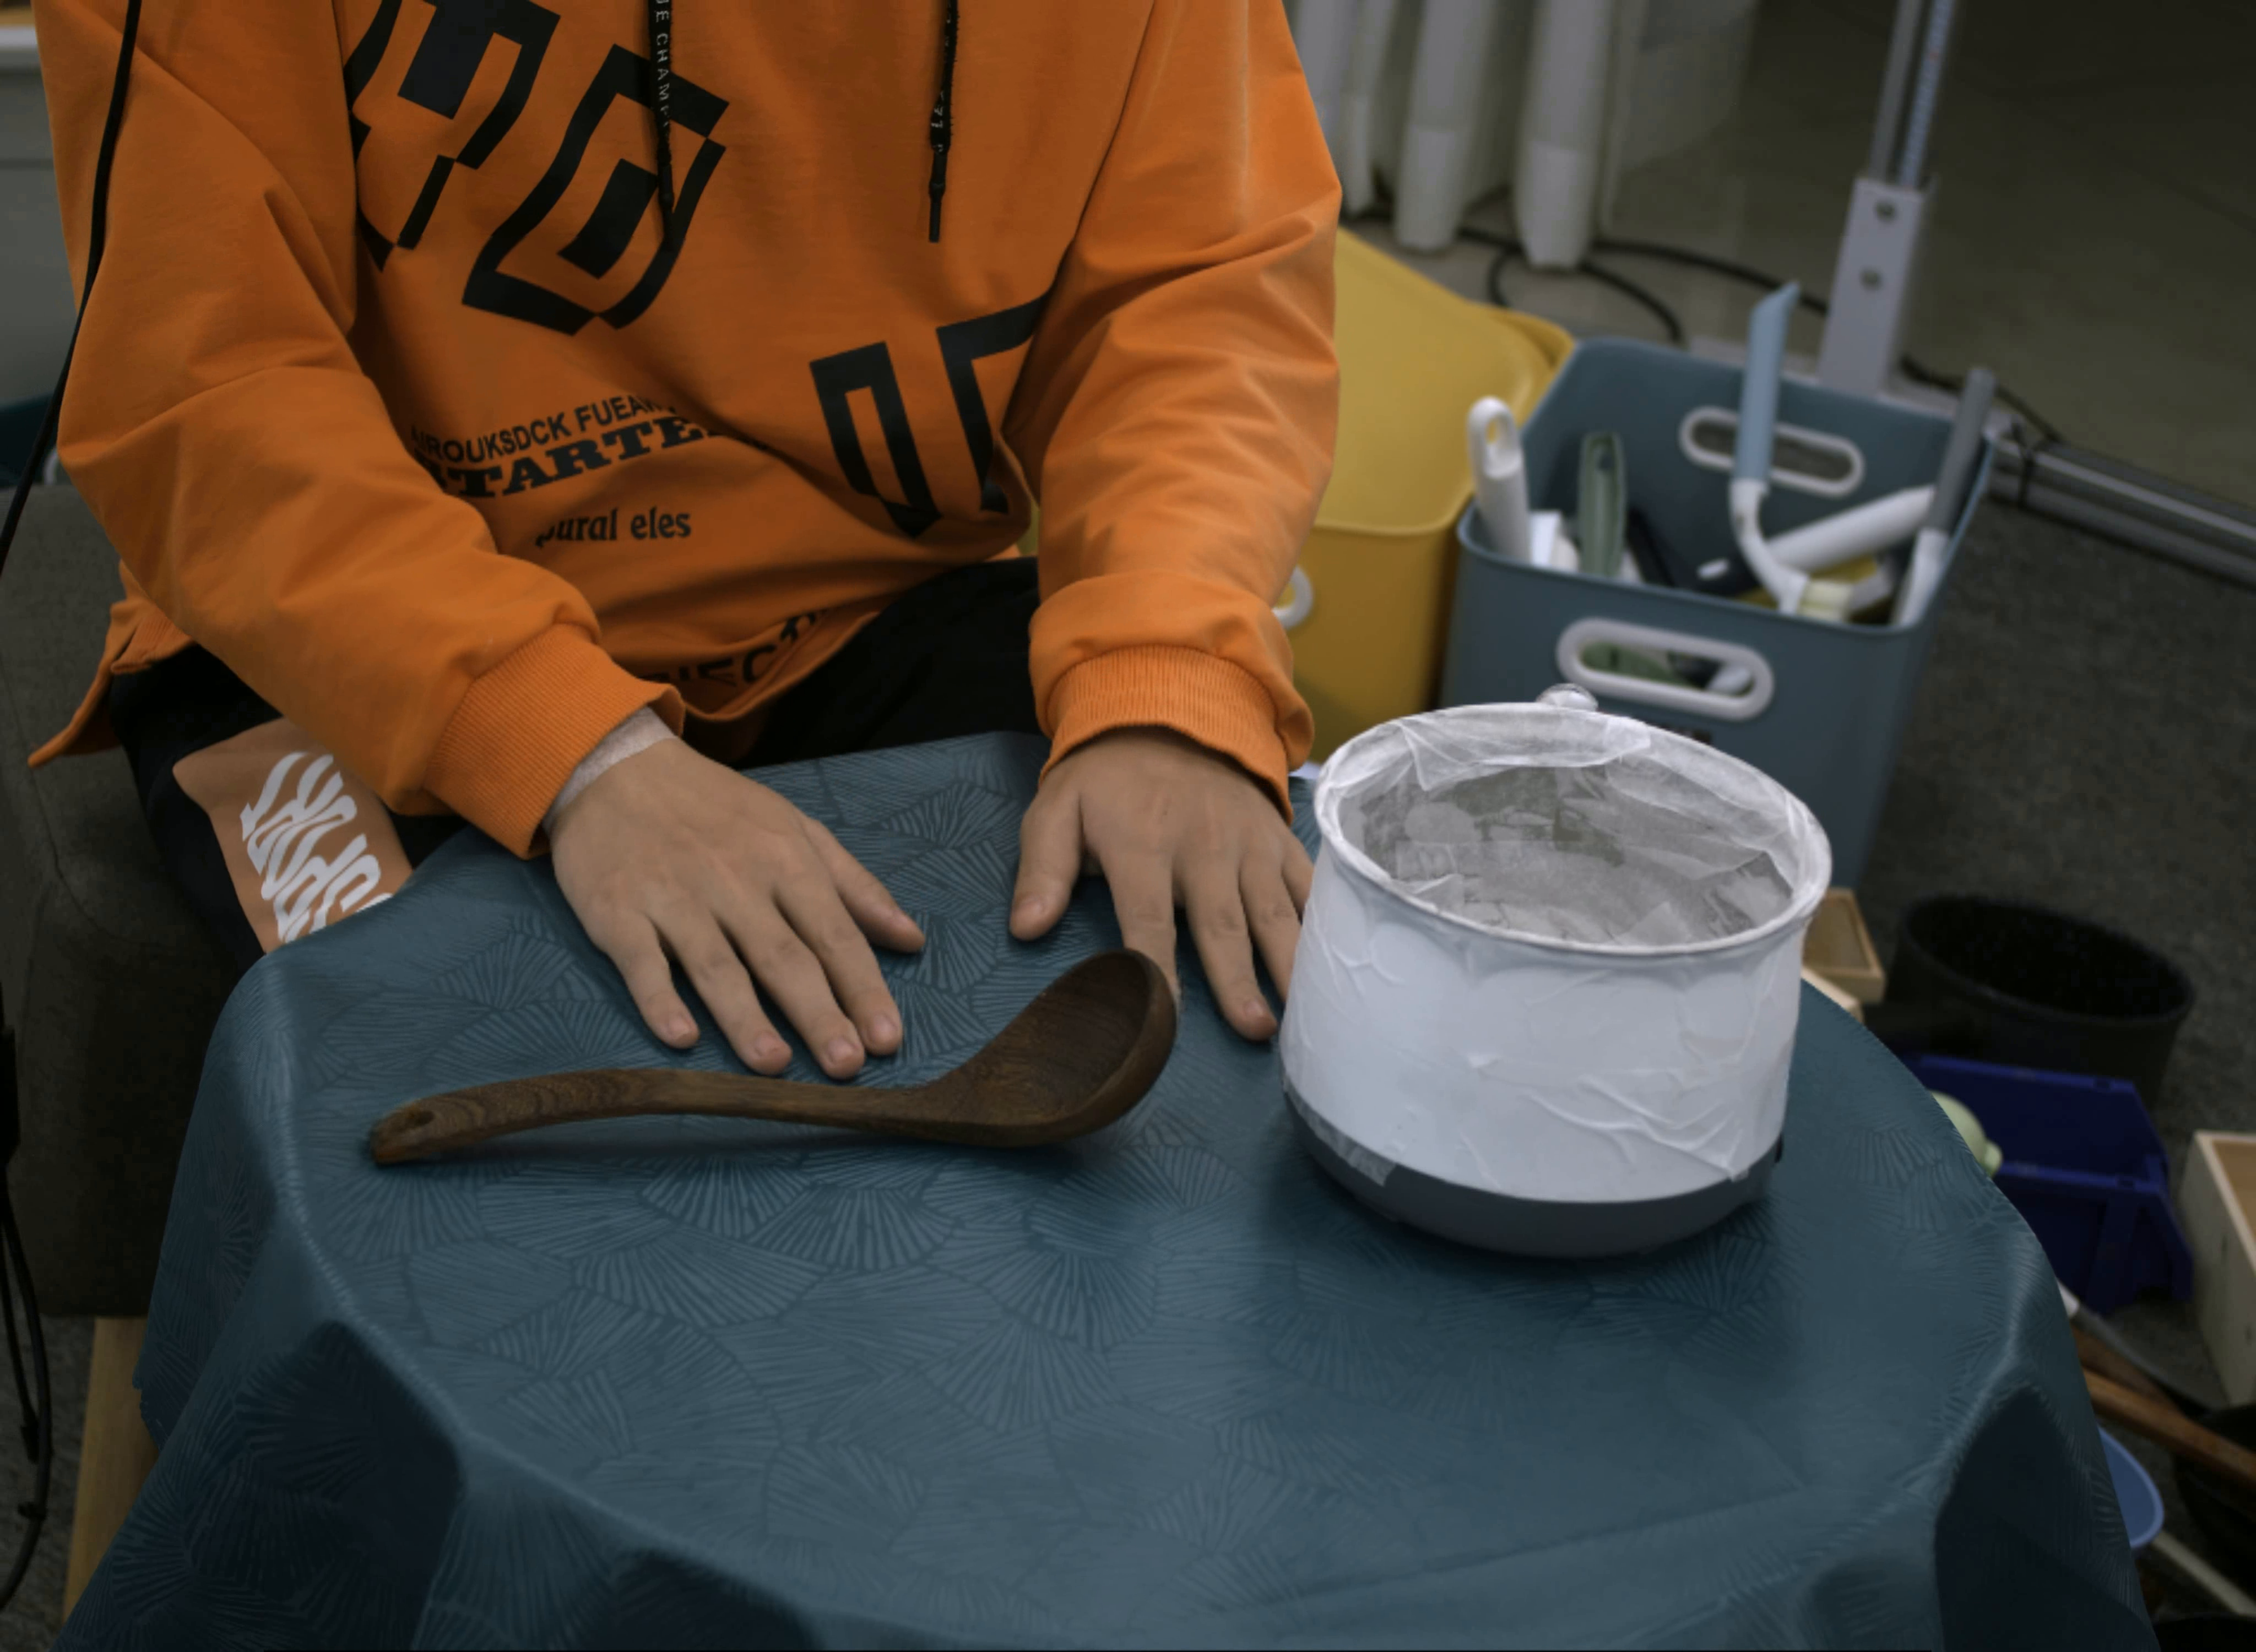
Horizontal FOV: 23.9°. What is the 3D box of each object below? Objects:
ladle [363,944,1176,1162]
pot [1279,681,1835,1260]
[{"bbox_3d":[-0.119,0.077,1.792,0.272,0.071,0.076,0,25,-14],"label":"ladle"},{"bbox_3d":[0.144,0.042,1.843,0.178,0.136,0.235,7,27,-1],"label":"pot"}]
